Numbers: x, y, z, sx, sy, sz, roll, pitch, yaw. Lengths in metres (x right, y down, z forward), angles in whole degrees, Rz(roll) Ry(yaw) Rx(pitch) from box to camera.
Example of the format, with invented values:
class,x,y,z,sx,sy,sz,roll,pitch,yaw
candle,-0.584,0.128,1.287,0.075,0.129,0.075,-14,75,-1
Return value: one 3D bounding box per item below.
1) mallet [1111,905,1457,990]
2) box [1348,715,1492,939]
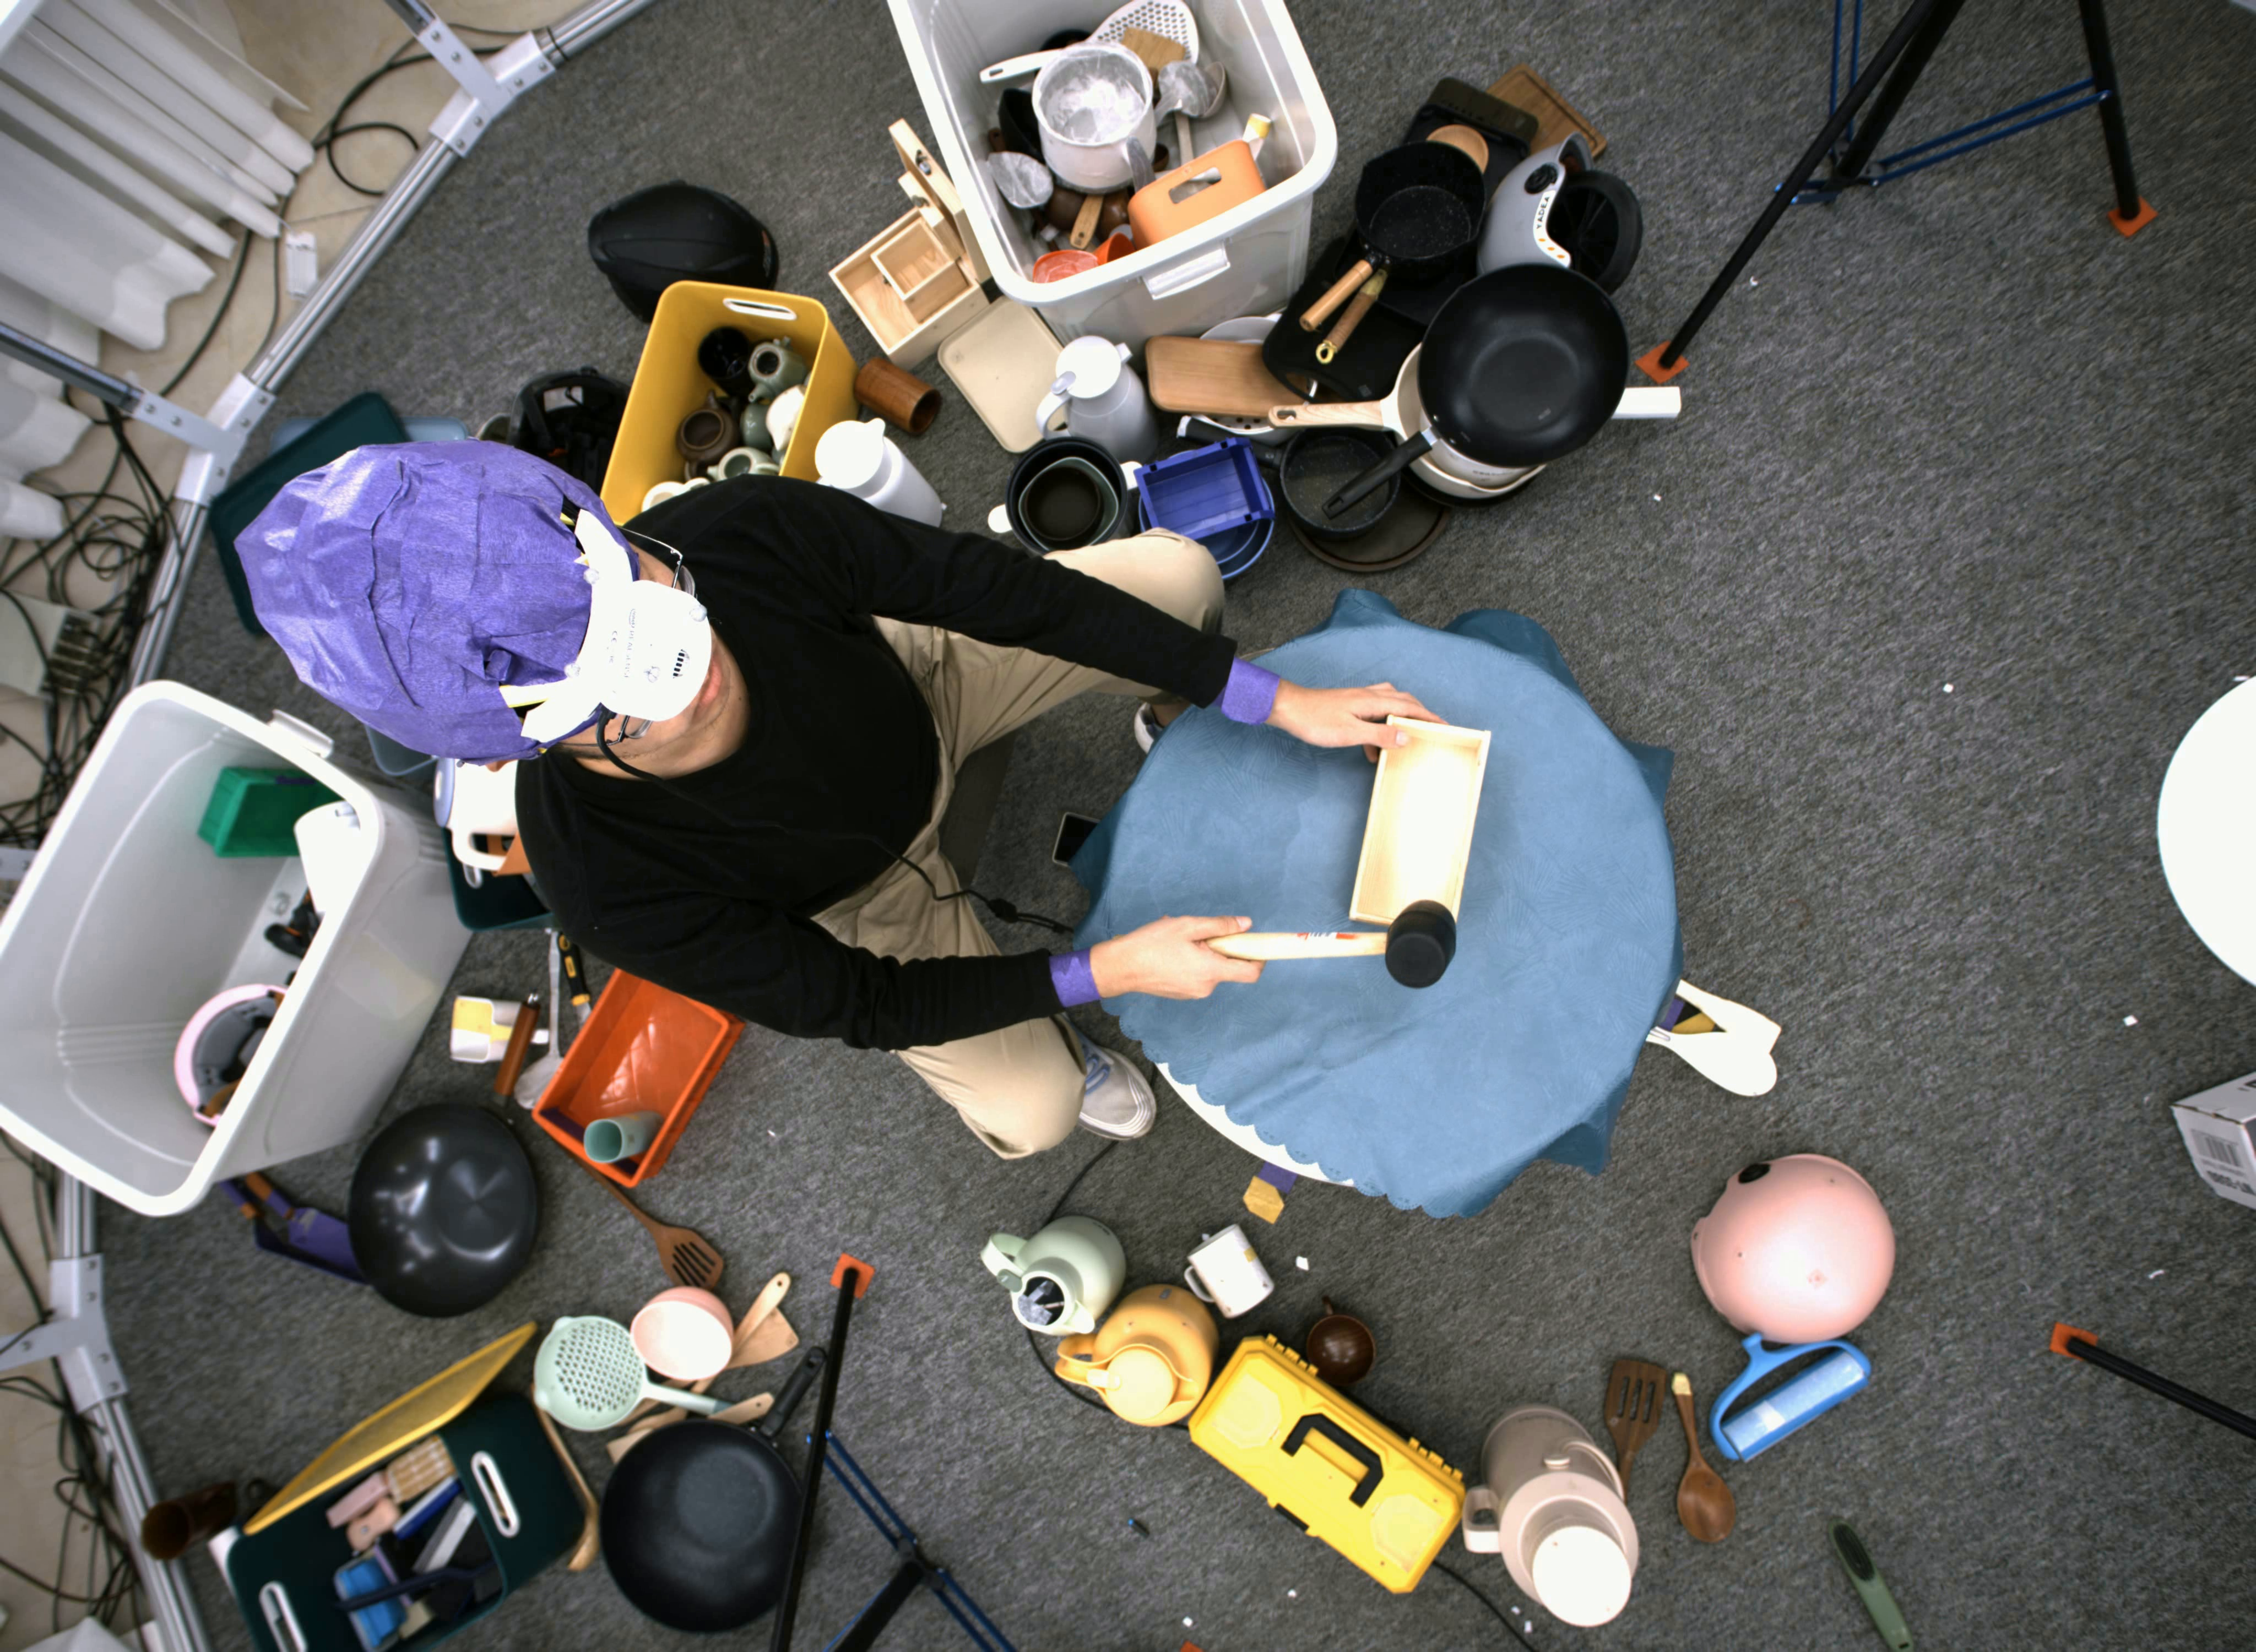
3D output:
class,x,y,z,sx,sy,sz,roll,pitch,yaw
mallet,0.145,0.110,1.343,0.341,0.100,0.065,1,102,21
box,0.300,0.001,1.418,0.108,0.080,0.211,11,89,12
